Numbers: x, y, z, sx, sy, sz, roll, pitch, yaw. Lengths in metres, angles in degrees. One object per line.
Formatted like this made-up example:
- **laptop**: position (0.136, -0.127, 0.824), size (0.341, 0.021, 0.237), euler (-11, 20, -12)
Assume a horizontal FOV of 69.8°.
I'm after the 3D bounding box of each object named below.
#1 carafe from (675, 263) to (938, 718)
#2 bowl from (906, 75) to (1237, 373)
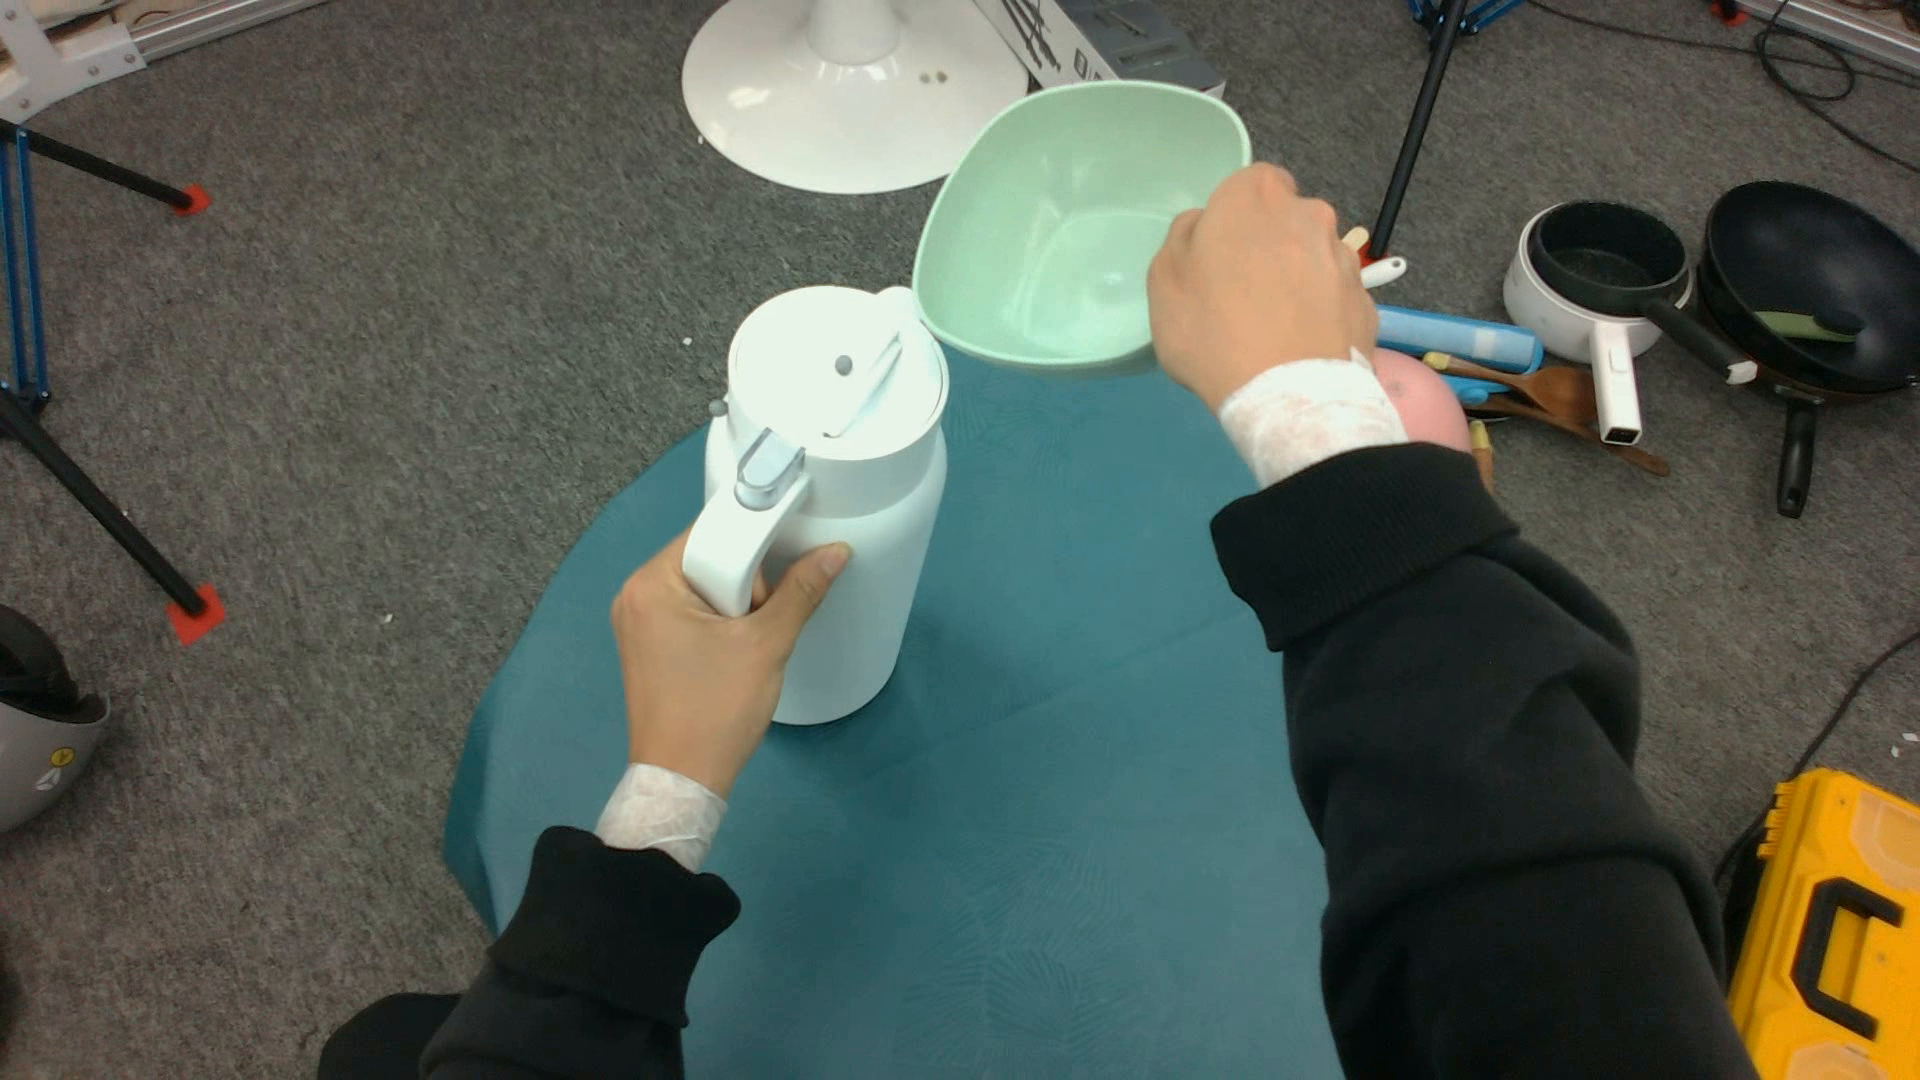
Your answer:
- **carafe**: position (-0.087, 0.000, 0.709), size (0.124, 0.267, 0.173), euler (28, 57, 4)
- **bowl**: position (0.054, -0.125, 0.591), size (0.151, 0.058, 0.152), euler (-10, 63, 22)
